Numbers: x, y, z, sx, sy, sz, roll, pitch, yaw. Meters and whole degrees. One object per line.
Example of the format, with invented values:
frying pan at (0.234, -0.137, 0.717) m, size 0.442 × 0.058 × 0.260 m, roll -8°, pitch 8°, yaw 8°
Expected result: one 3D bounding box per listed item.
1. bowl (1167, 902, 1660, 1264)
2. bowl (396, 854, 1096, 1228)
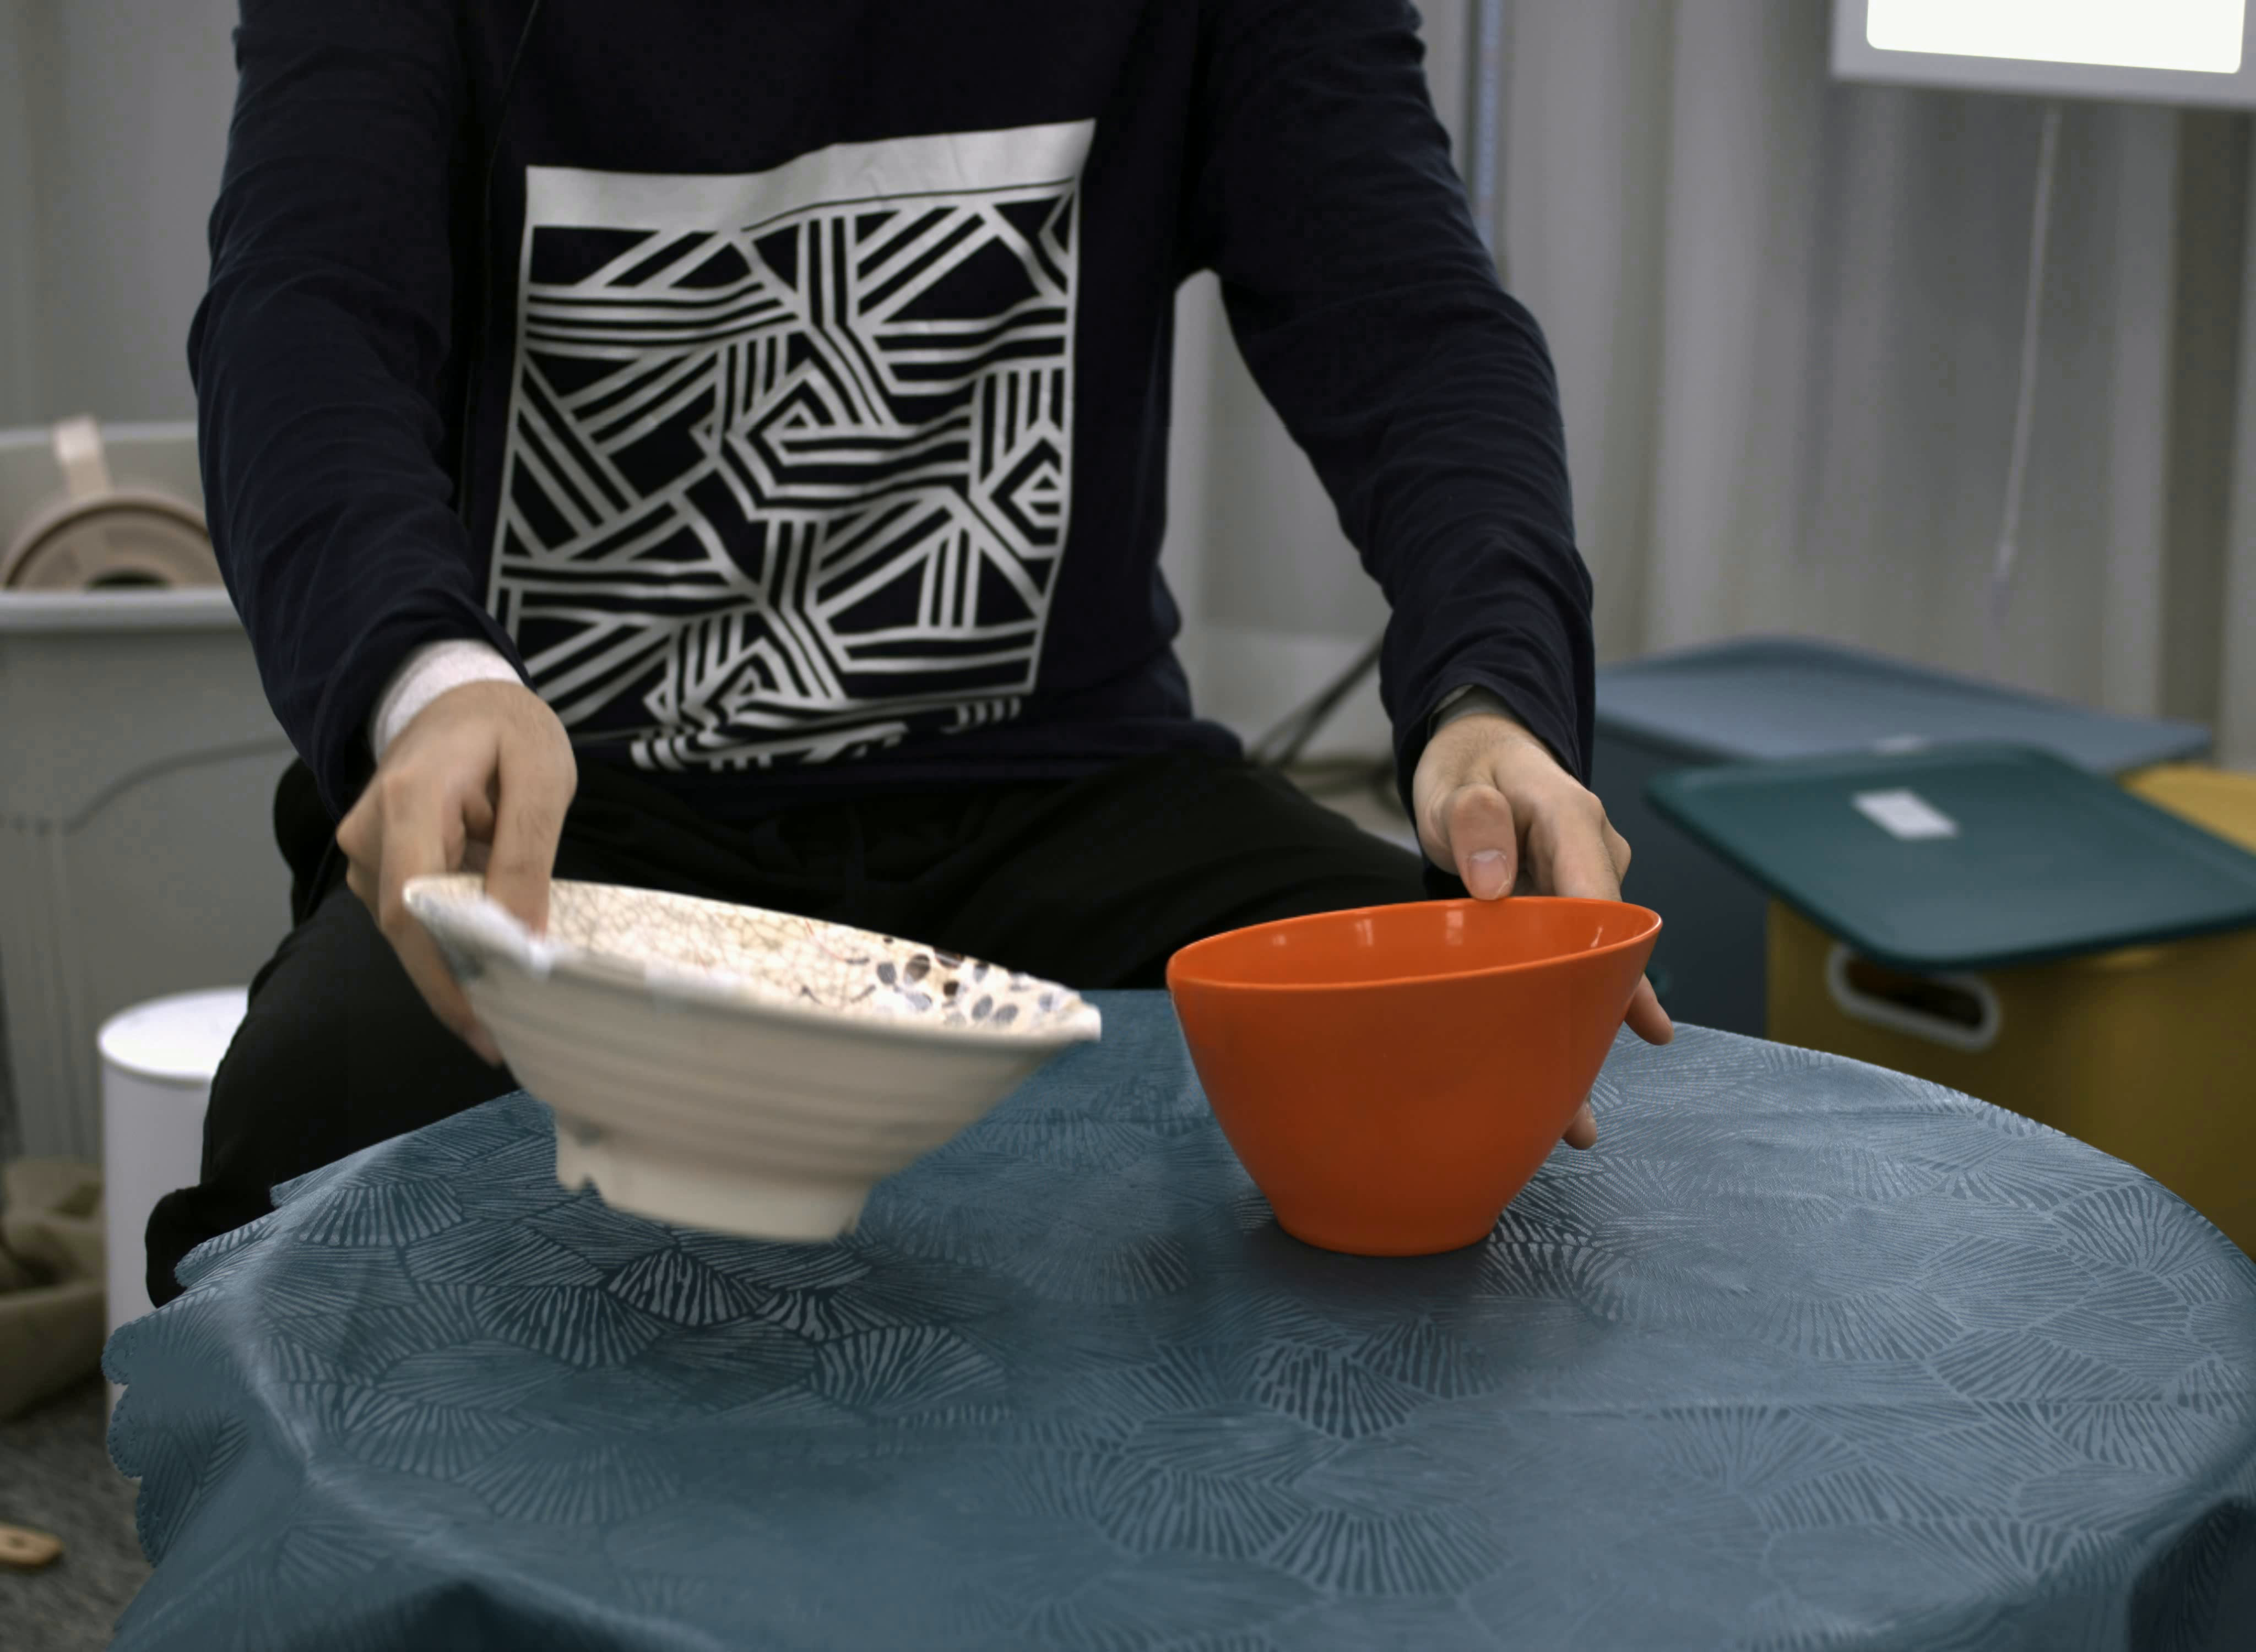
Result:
bowl at (0.085, 0.075, 1.577) m, size 0.147 × 0.105 × 0.147 m, roll 0°, pitch 14°, yaw 1°
bowl at (-0.115, 0.067, 1.499) m, size 0.203 × 0.078 × 0.204 m, roll 12°, pitch 2°, yaw 0°
